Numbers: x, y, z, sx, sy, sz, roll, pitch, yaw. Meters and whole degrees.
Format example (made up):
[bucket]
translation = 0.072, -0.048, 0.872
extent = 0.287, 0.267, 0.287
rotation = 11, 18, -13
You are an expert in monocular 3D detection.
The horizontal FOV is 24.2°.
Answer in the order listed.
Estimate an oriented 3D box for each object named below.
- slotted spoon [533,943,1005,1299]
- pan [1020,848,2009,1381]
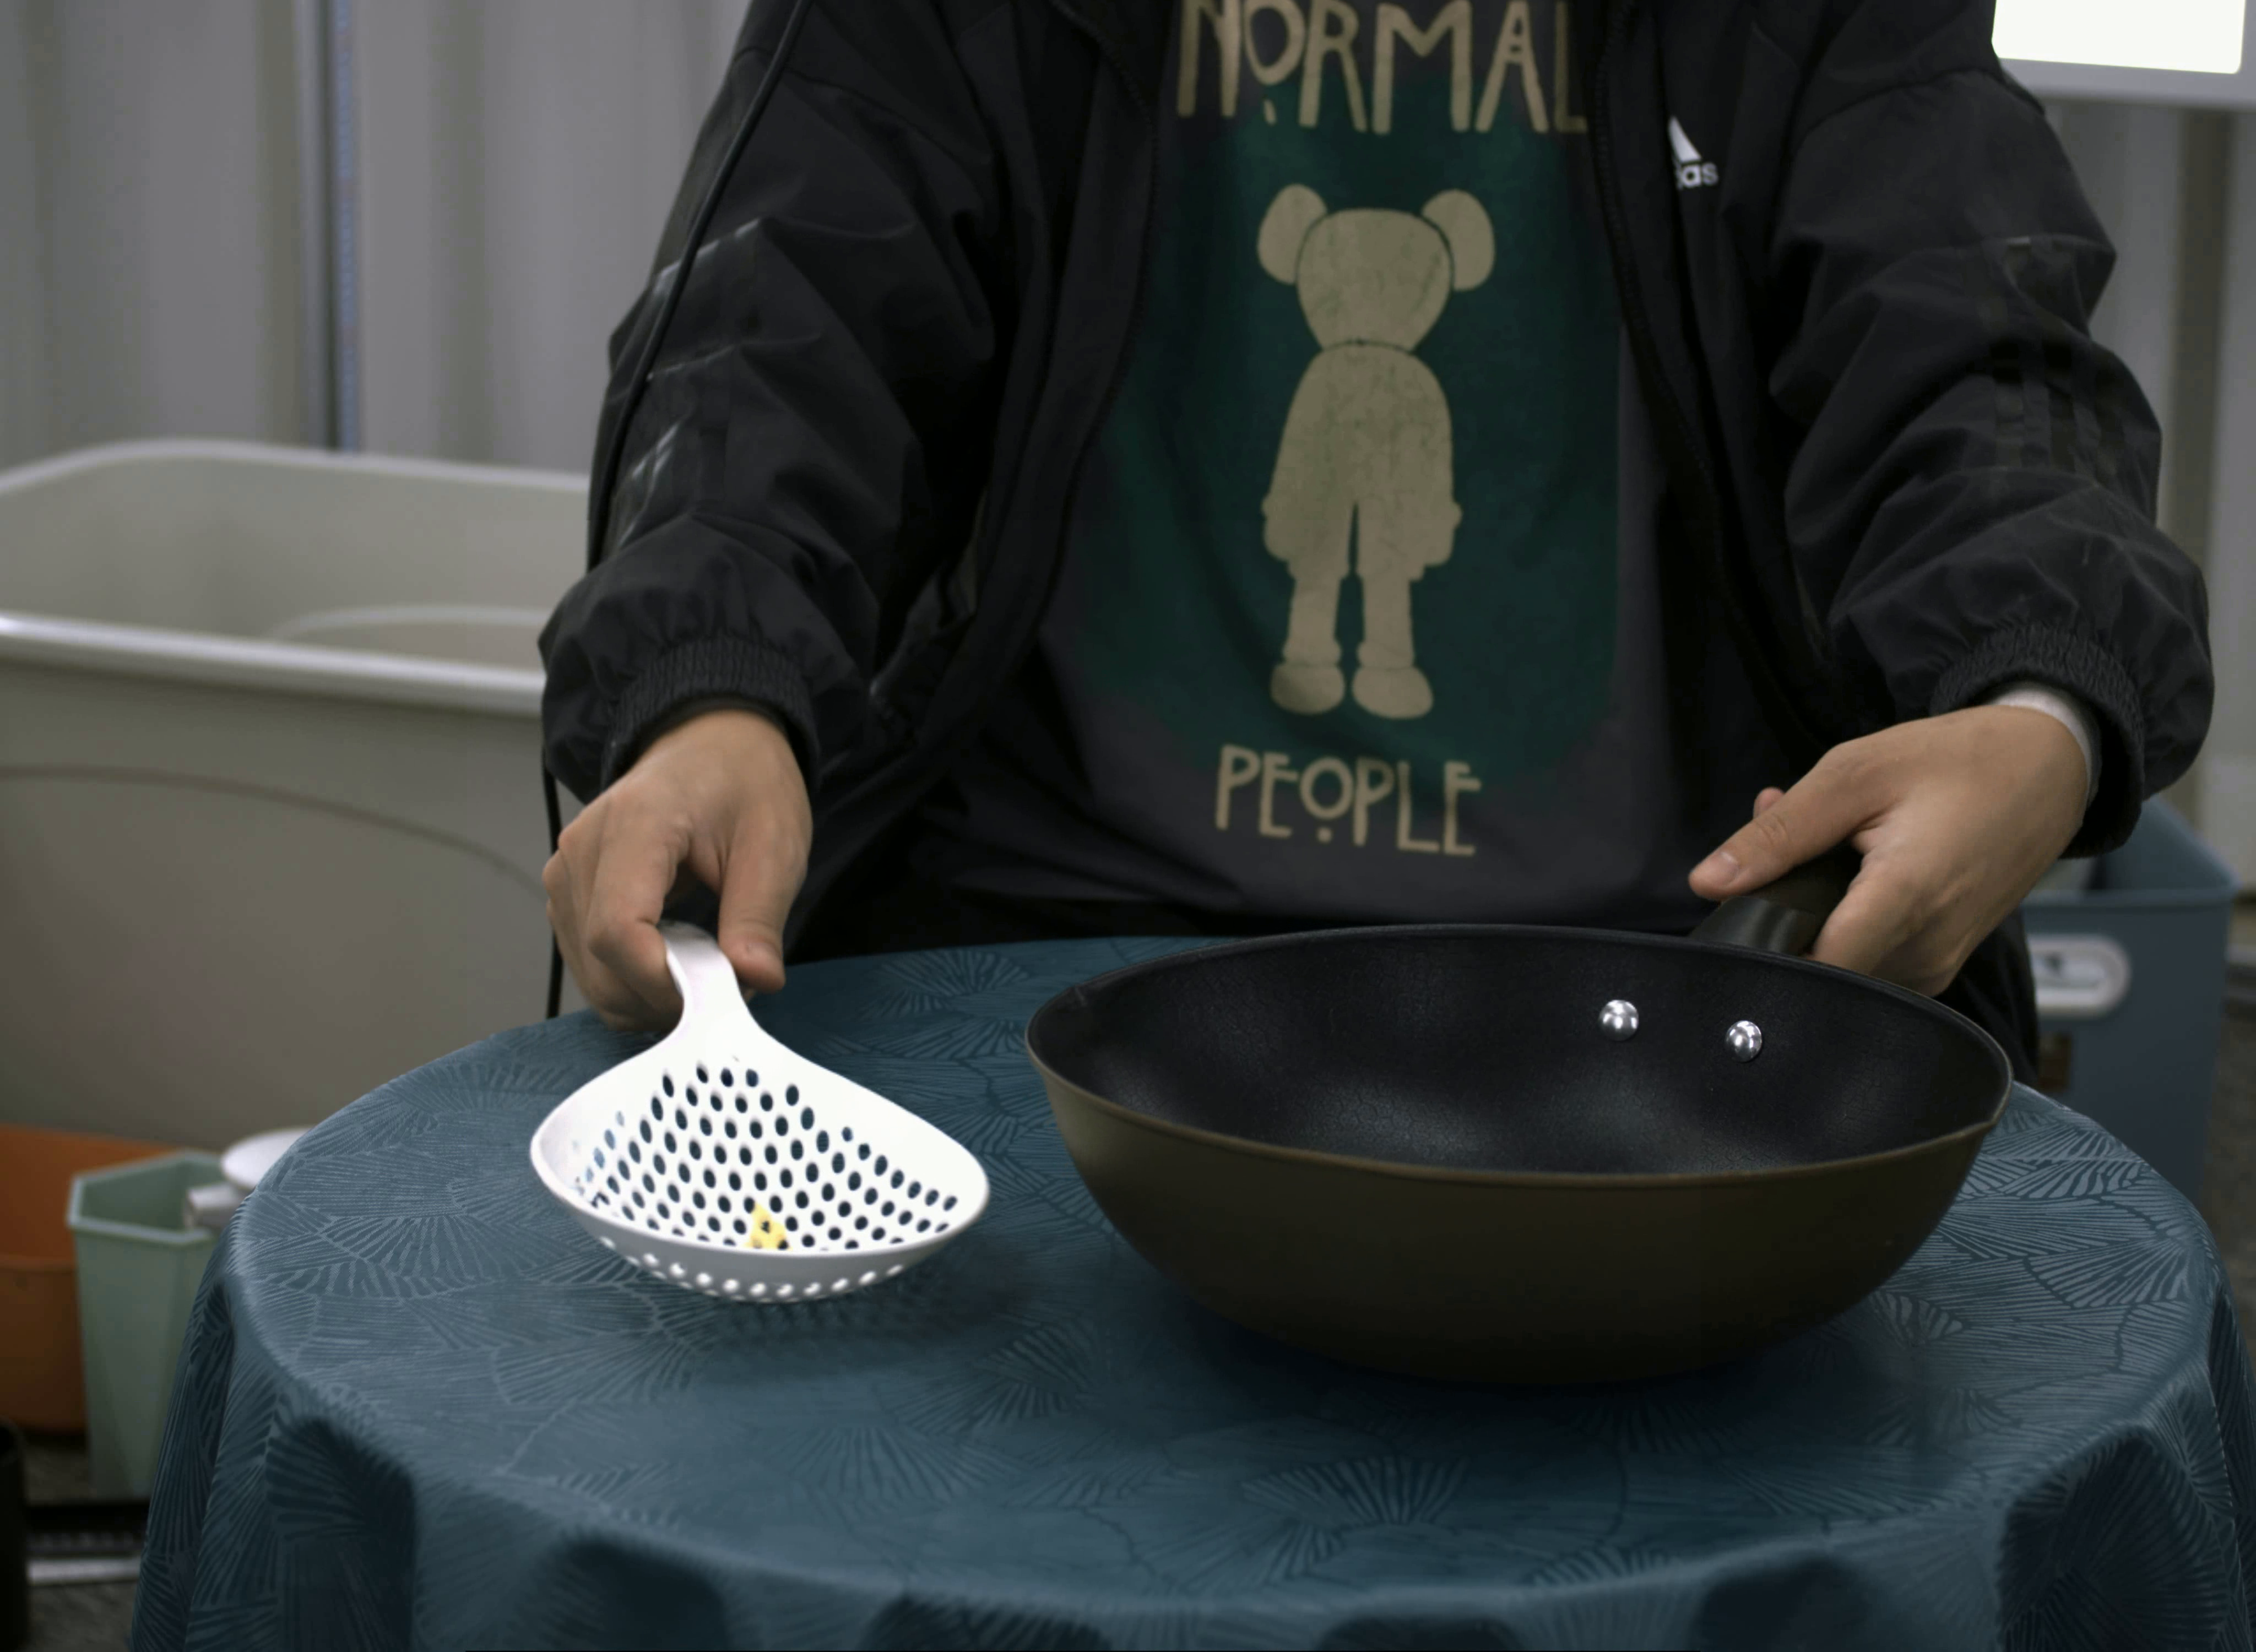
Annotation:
[slotted spoon]
translation = -0.126, 0.078, 1.635
extent = 0.137, 0.051, 0.344
rotation = 2, 19, -12
[pan]
translation = 0.152, 0.081, 1.591
extent = 0.285, 0.087, 0.465
rotation = 9, 14, 27
